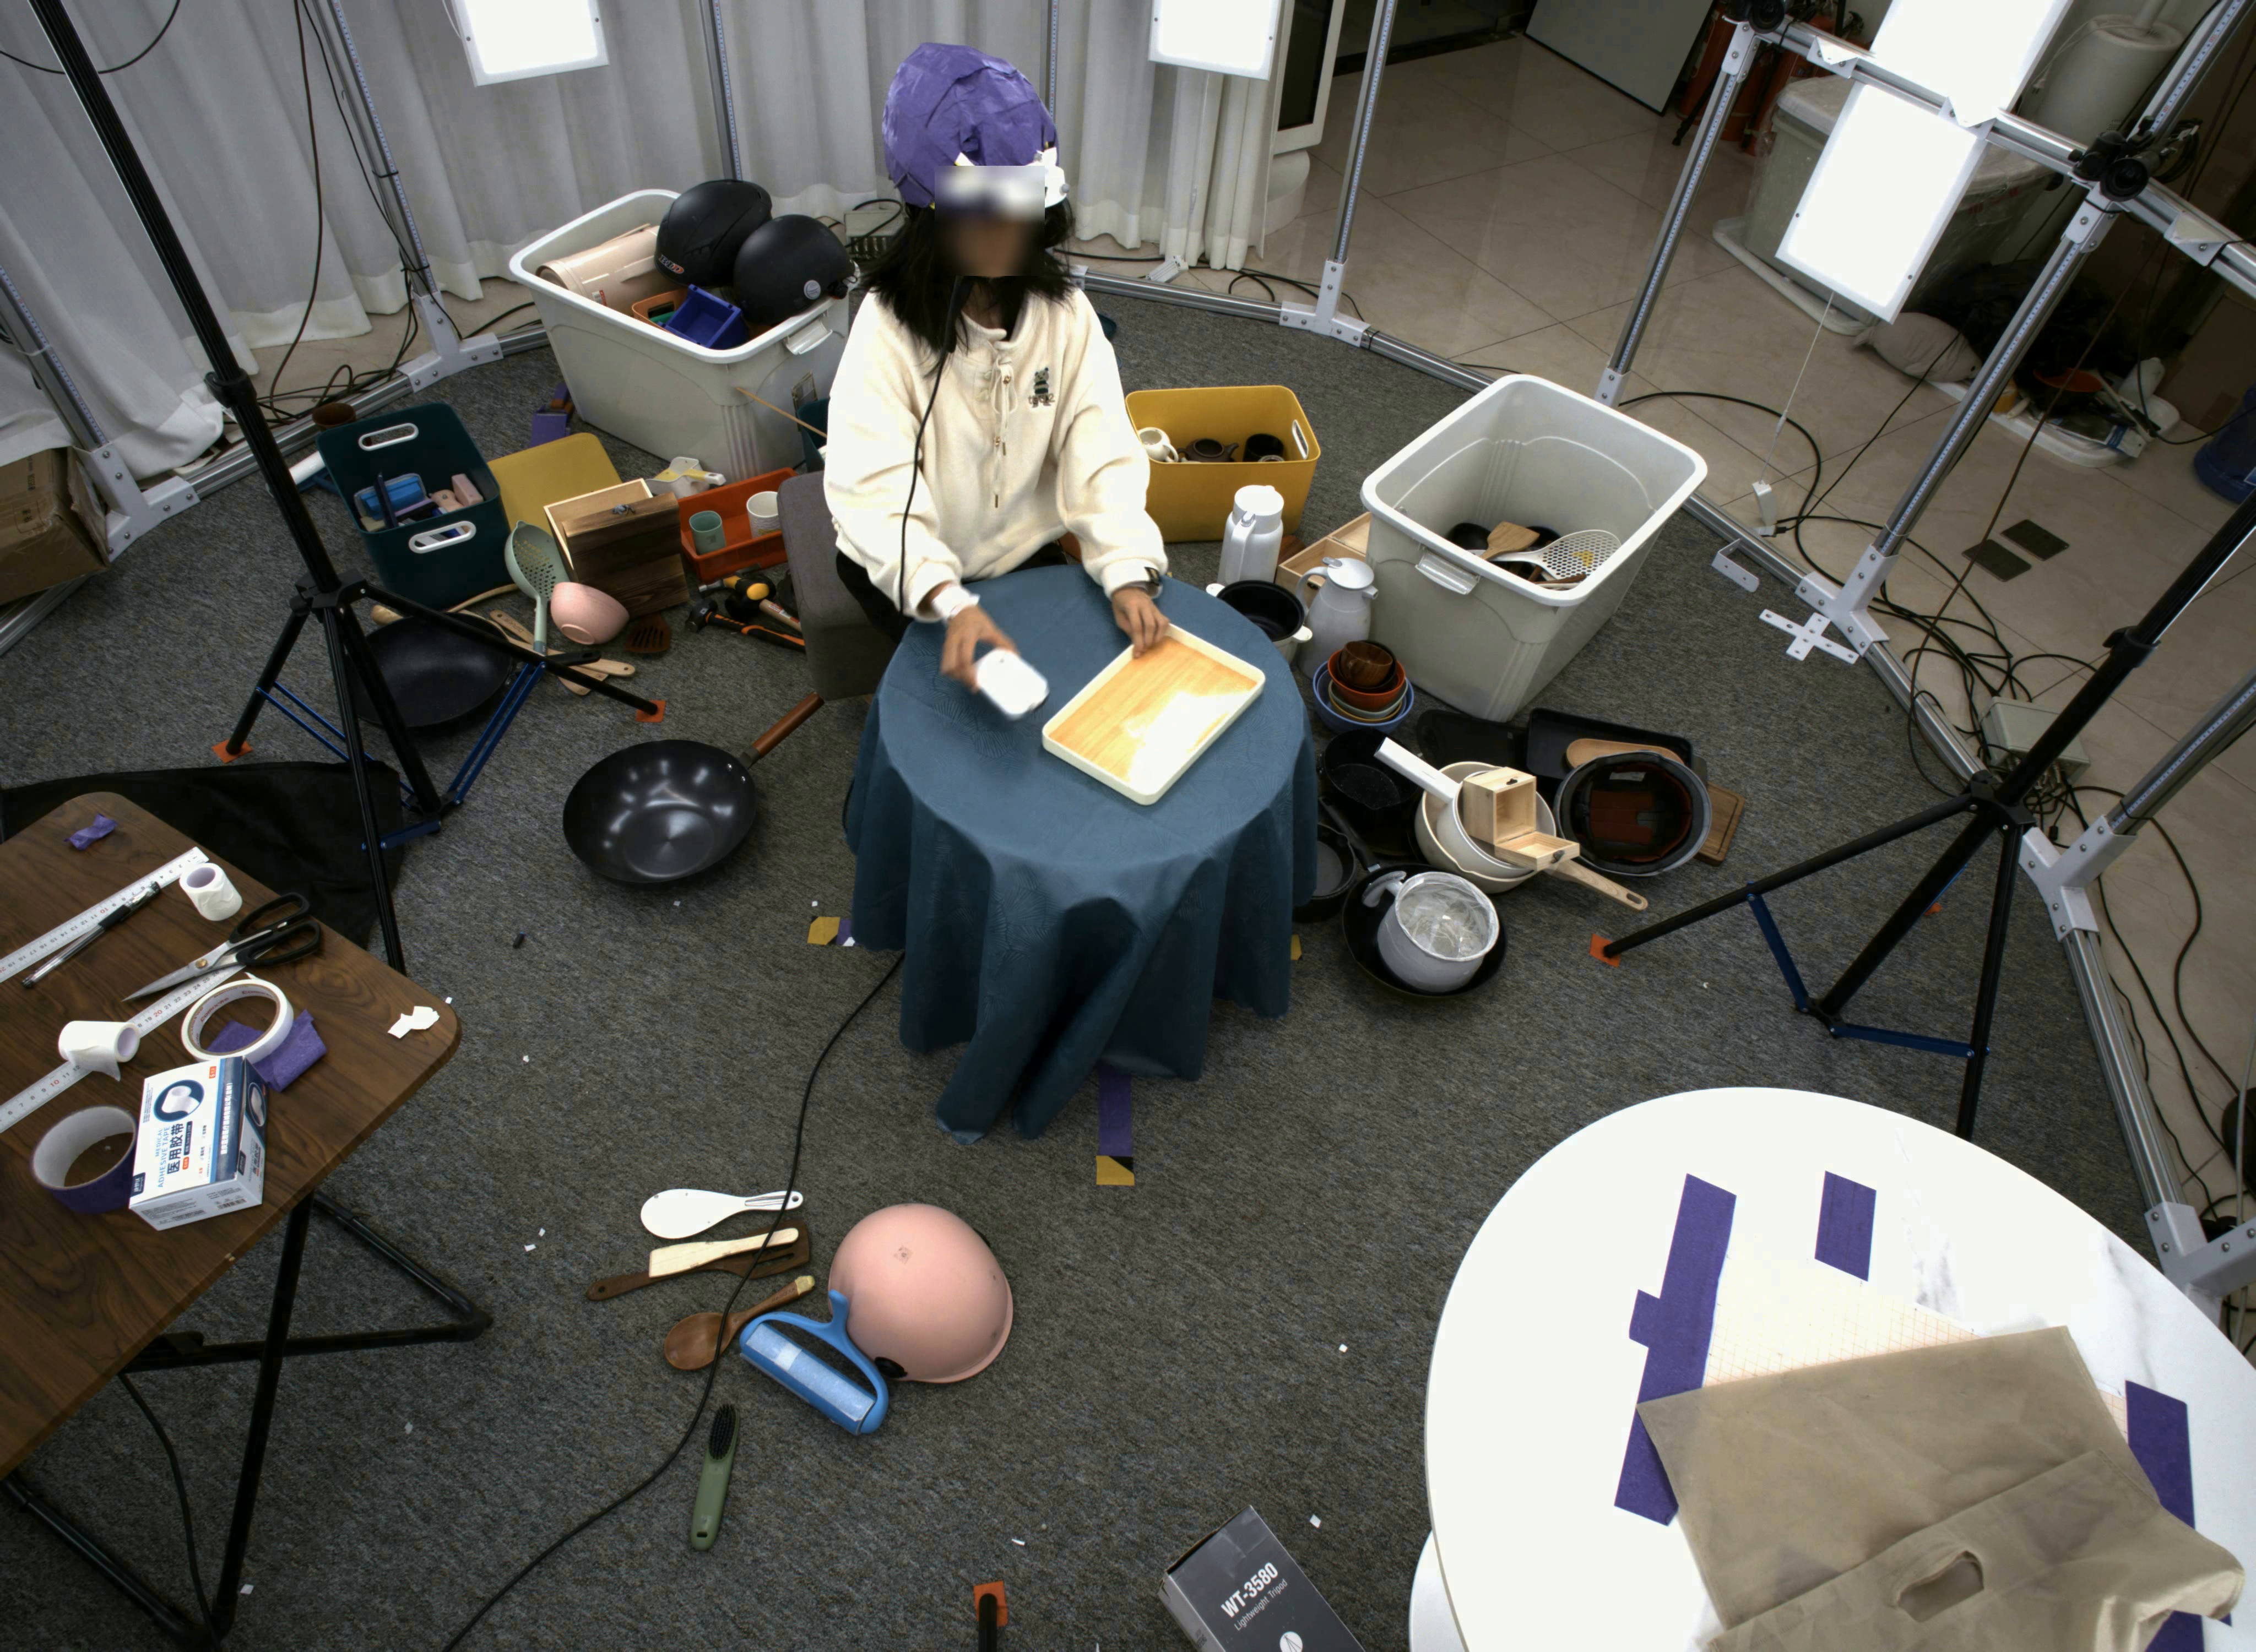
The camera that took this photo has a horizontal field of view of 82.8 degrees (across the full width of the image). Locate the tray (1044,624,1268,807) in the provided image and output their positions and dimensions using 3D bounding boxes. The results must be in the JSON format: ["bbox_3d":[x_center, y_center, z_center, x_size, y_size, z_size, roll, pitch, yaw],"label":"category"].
[{"bbox_3d":[0.042,-0.161,1.795,0.194,0.027,0.304,31,54,21],"label":"tray"}]

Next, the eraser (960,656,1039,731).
[{"bbox_3d":[-0.172,-0.183,1.739,0.063,0.033,0.134,-33,50,-13],"label":"eraser"}]
